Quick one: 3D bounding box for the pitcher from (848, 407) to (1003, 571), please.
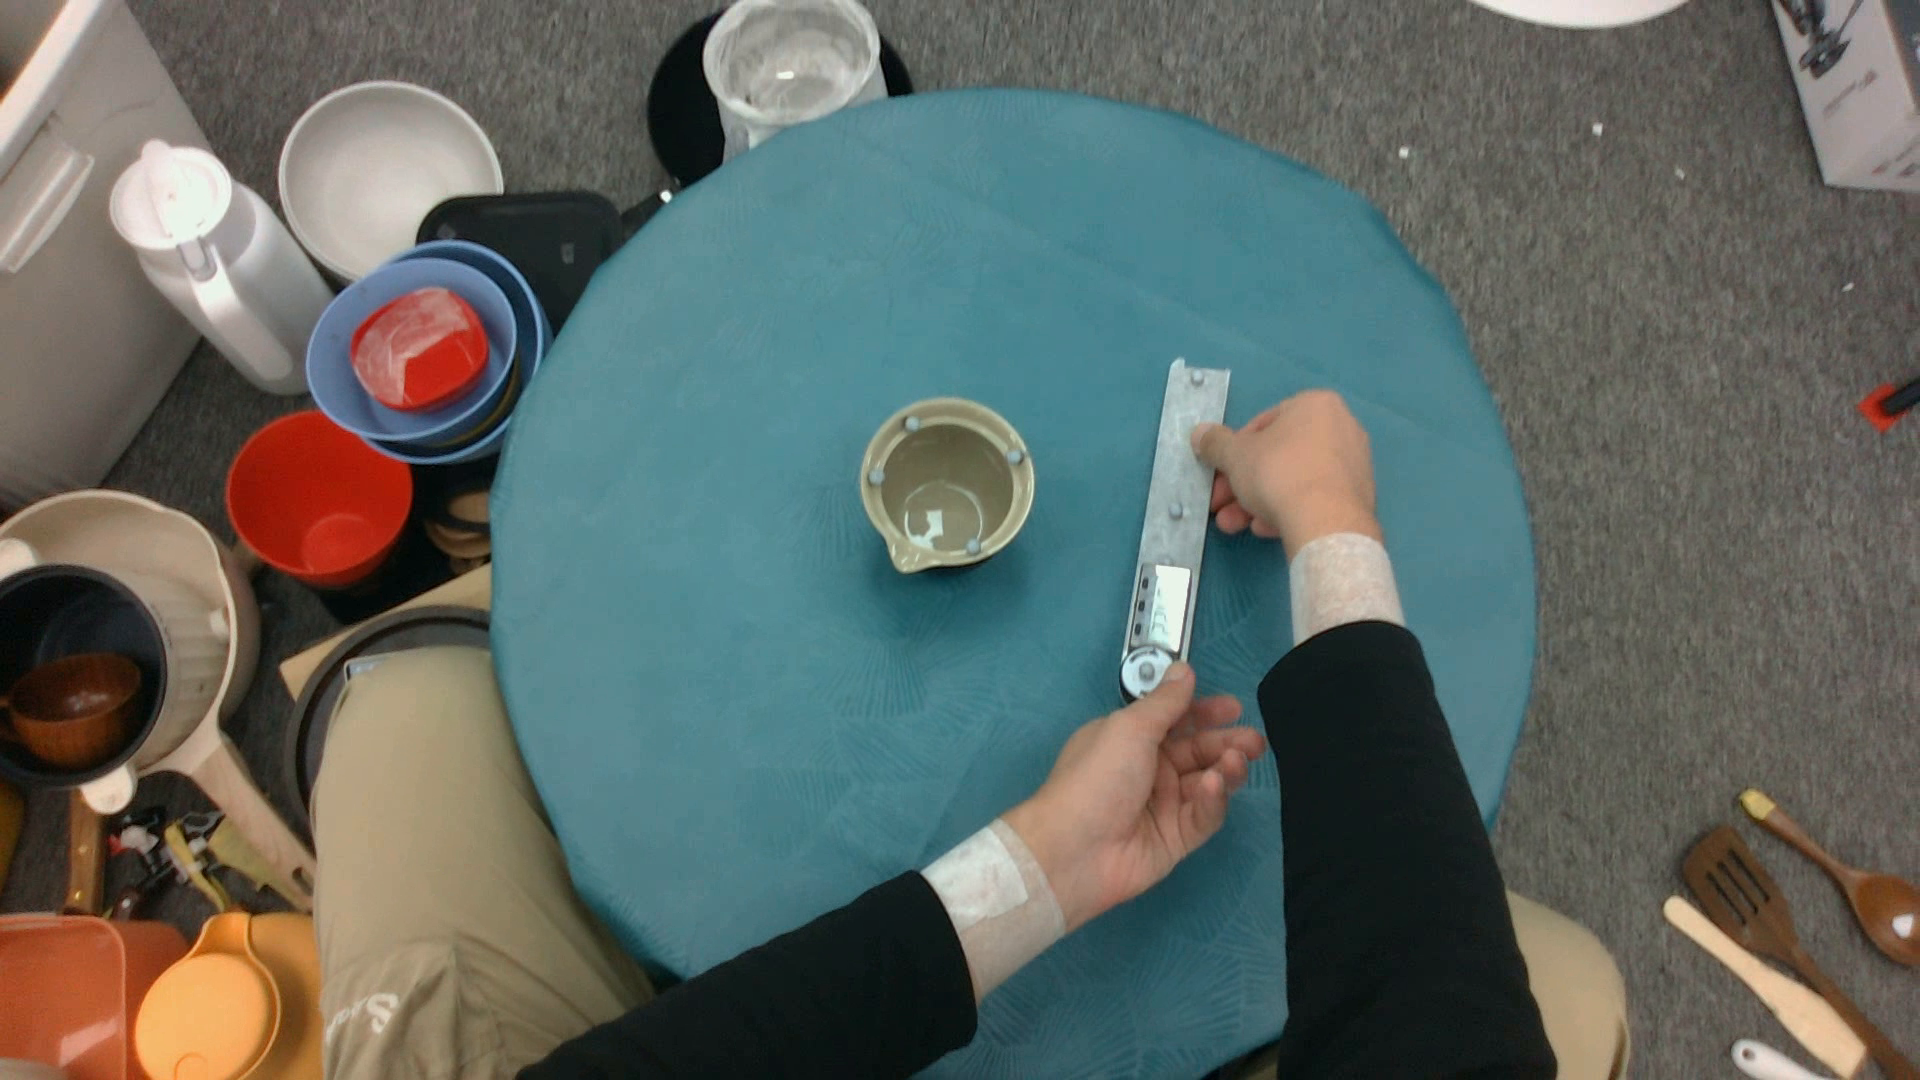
[{"bbox_3d":[-0.023,-0.018,0.755,0.083,0.071,0.096,26,70,4],"label":"pitcher"}]

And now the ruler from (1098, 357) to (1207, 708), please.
[{"bbox_3d":[0.110,-0.012,0.782,0.038,0.024,0.219,9,68,6],"label":"ruler"}]
